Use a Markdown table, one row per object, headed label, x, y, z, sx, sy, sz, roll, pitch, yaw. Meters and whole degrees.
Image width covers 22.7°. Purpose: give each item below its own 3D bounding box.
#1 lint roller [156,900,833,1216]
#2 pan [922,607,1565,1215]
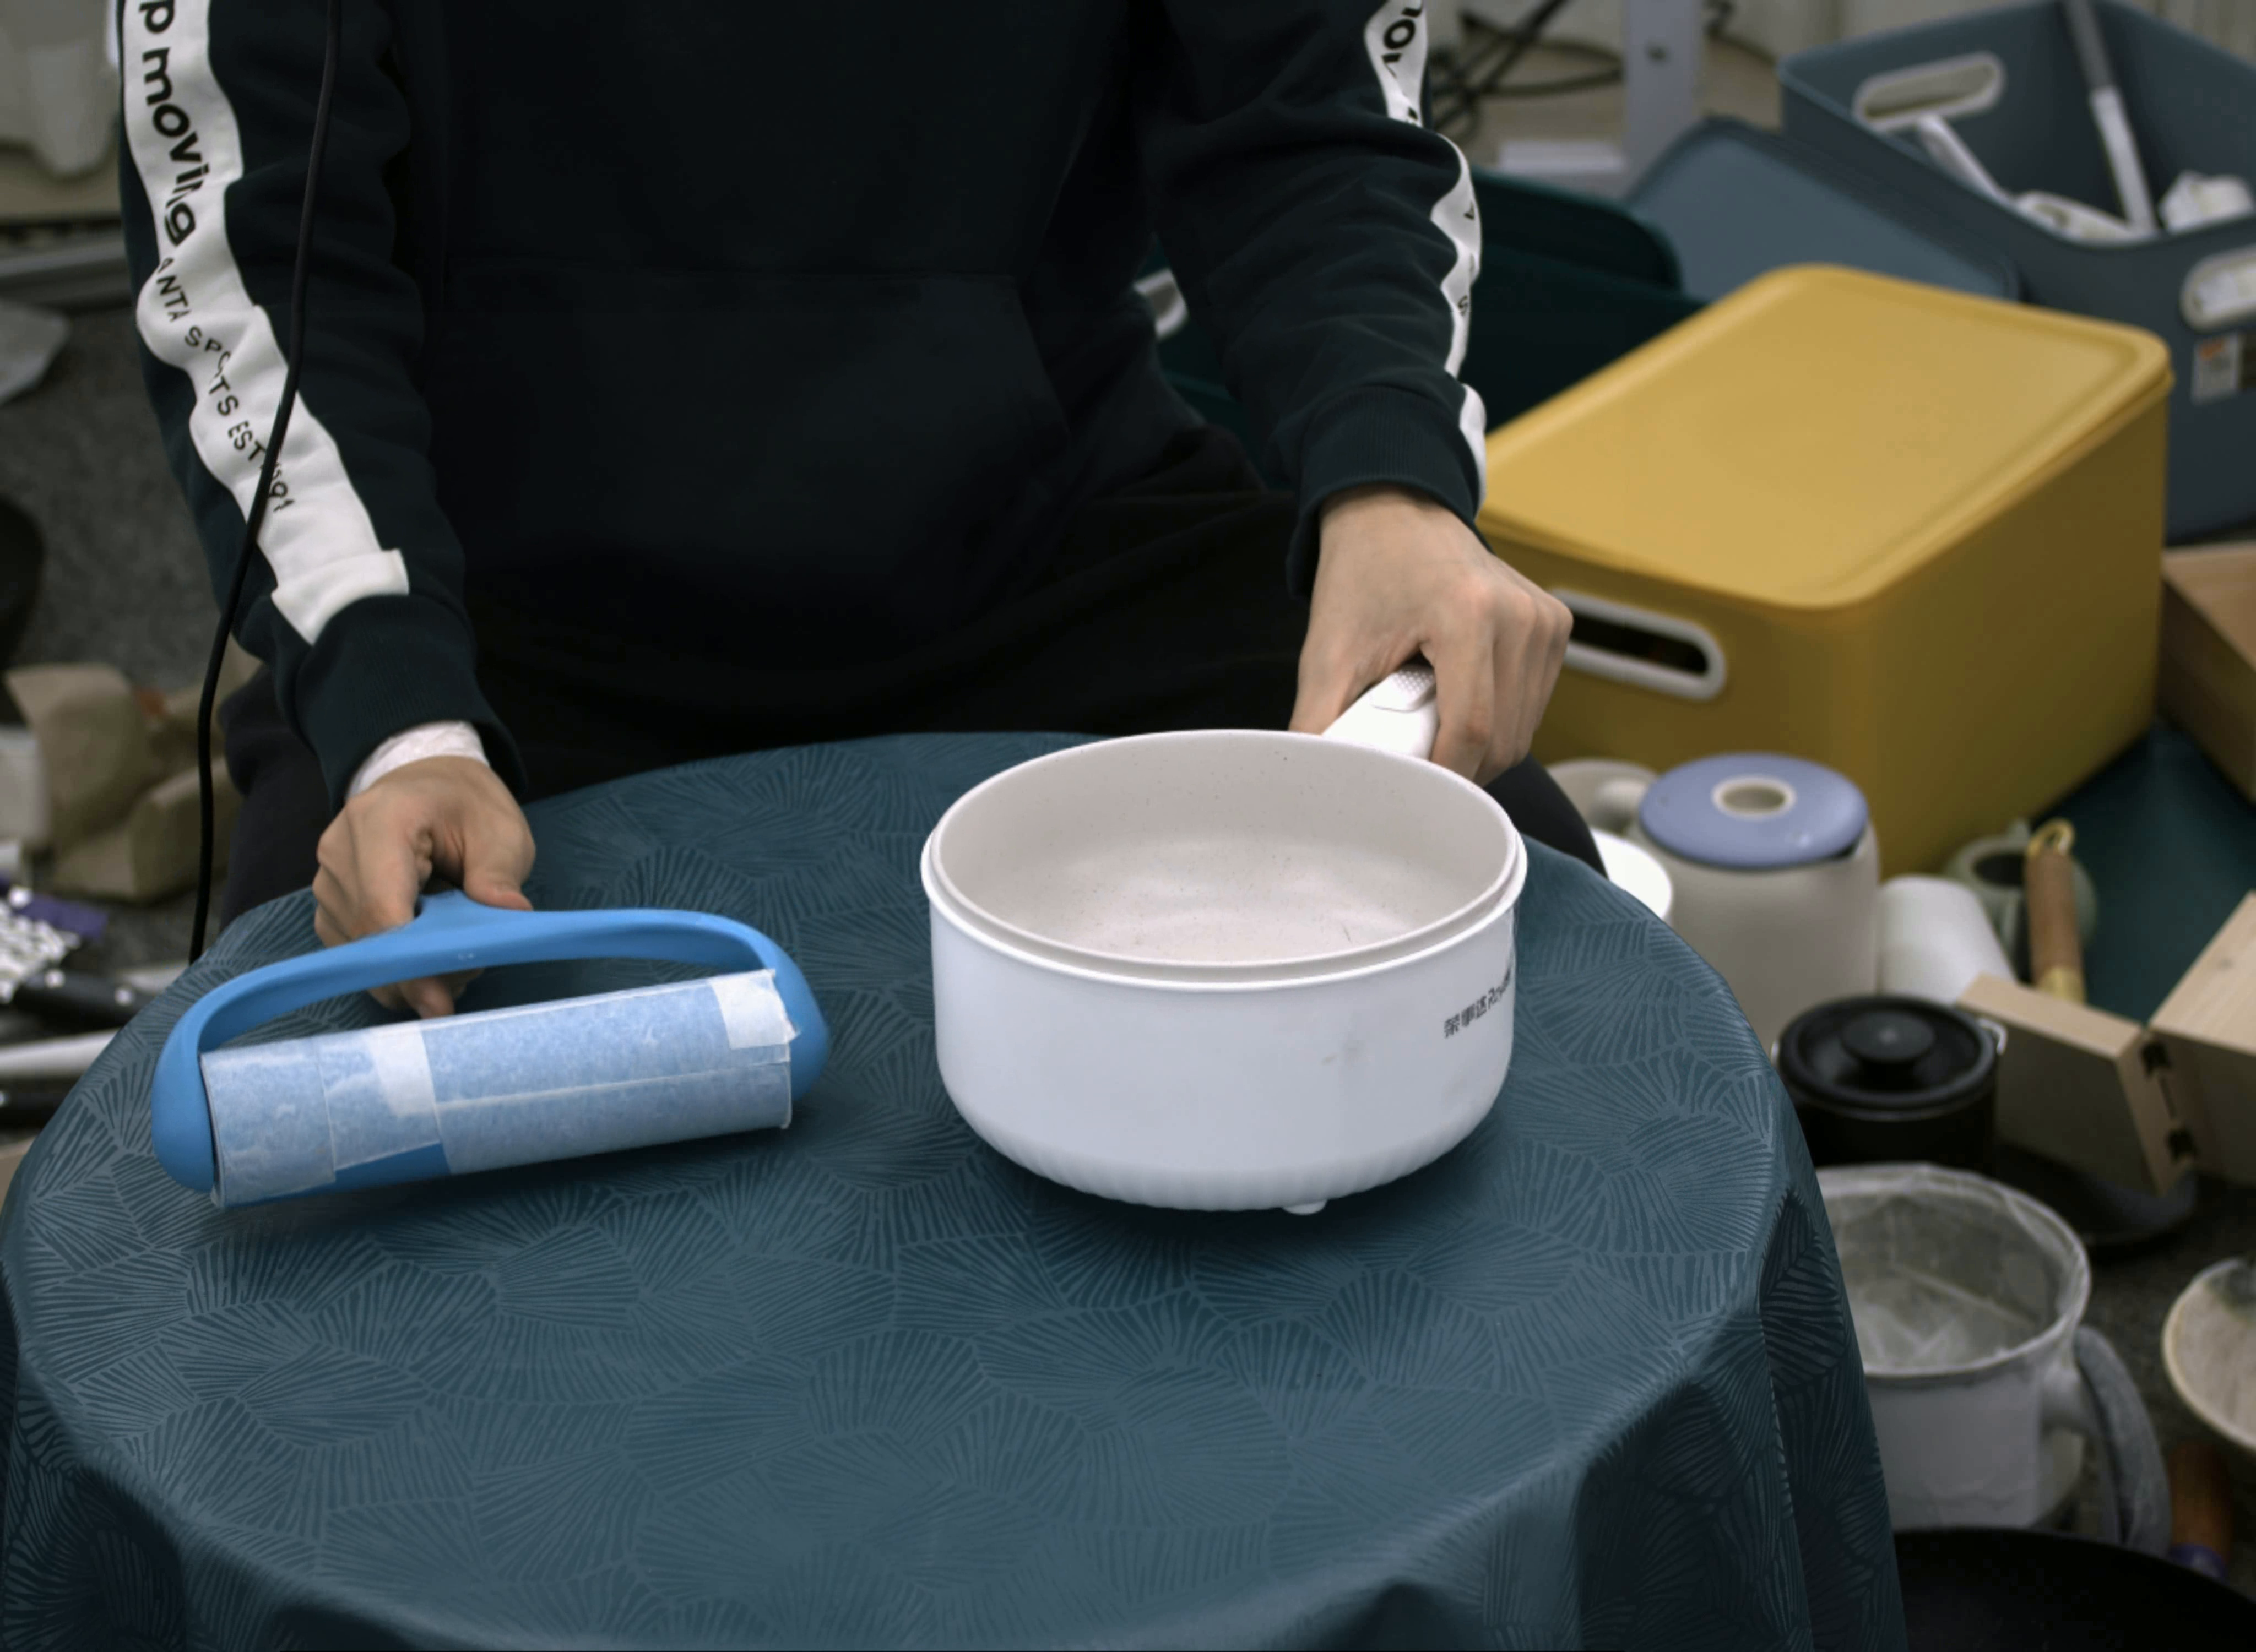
| label | x | y | z | sx | sy | sz | roll | pitch | yaw |
| --- | --- | --- | --- | --- | --- | --- | --- | --- | --- |
| lint roller | -0.230 | 0.061 | 1.923 | 0.229 | 0.067 | 0.182 | -10 | 31 | -18 |
| pan | 0.065 | 0.025 | 1.939 | 0.200 | 0.101 | 0.360 | 9 | 24 | 23 |
